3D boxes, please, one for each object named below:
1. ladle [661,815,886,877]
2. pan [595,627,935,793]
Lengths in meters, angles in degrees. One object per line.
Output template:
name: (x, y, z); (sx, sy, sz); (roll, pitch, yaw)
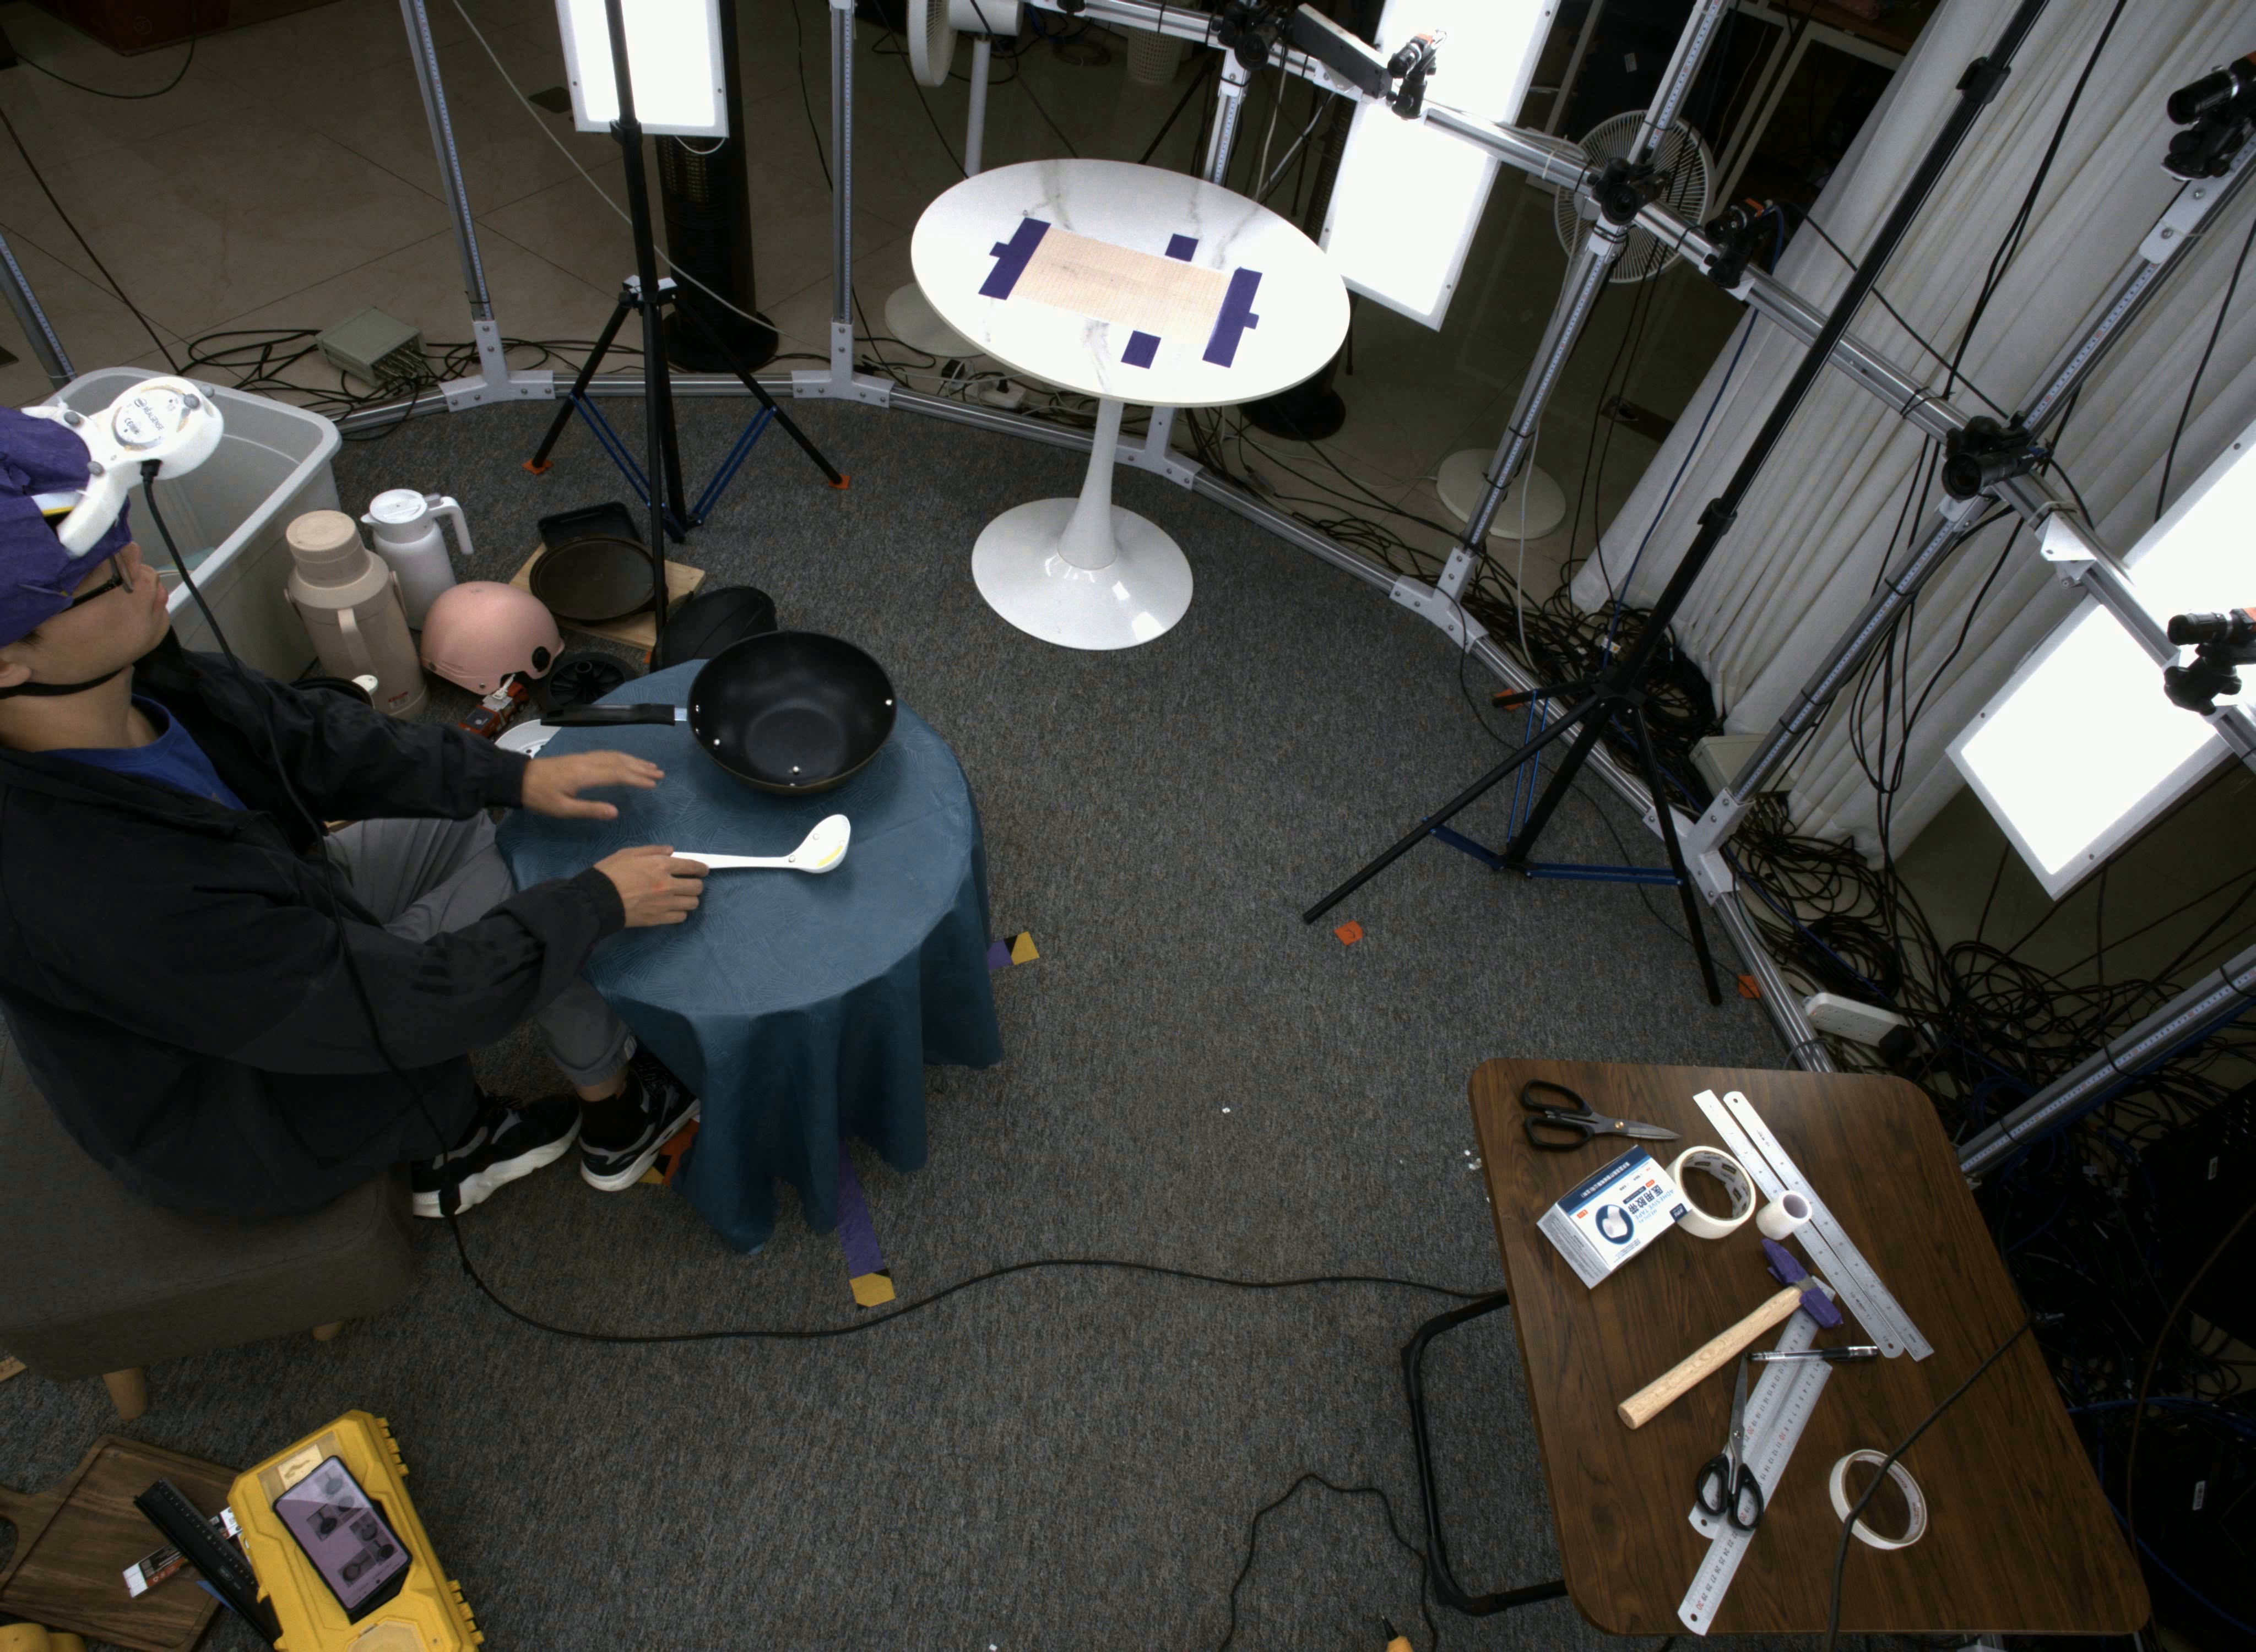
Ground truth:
ladle: (-0.457, 0.025, 1.669); (0.292, 0.071, 0.088); (2, 54, -9)
pan: (-0.495, -0.142, 1.769); (0.464, 0.089, 0.282); (-3, 54, -14)
